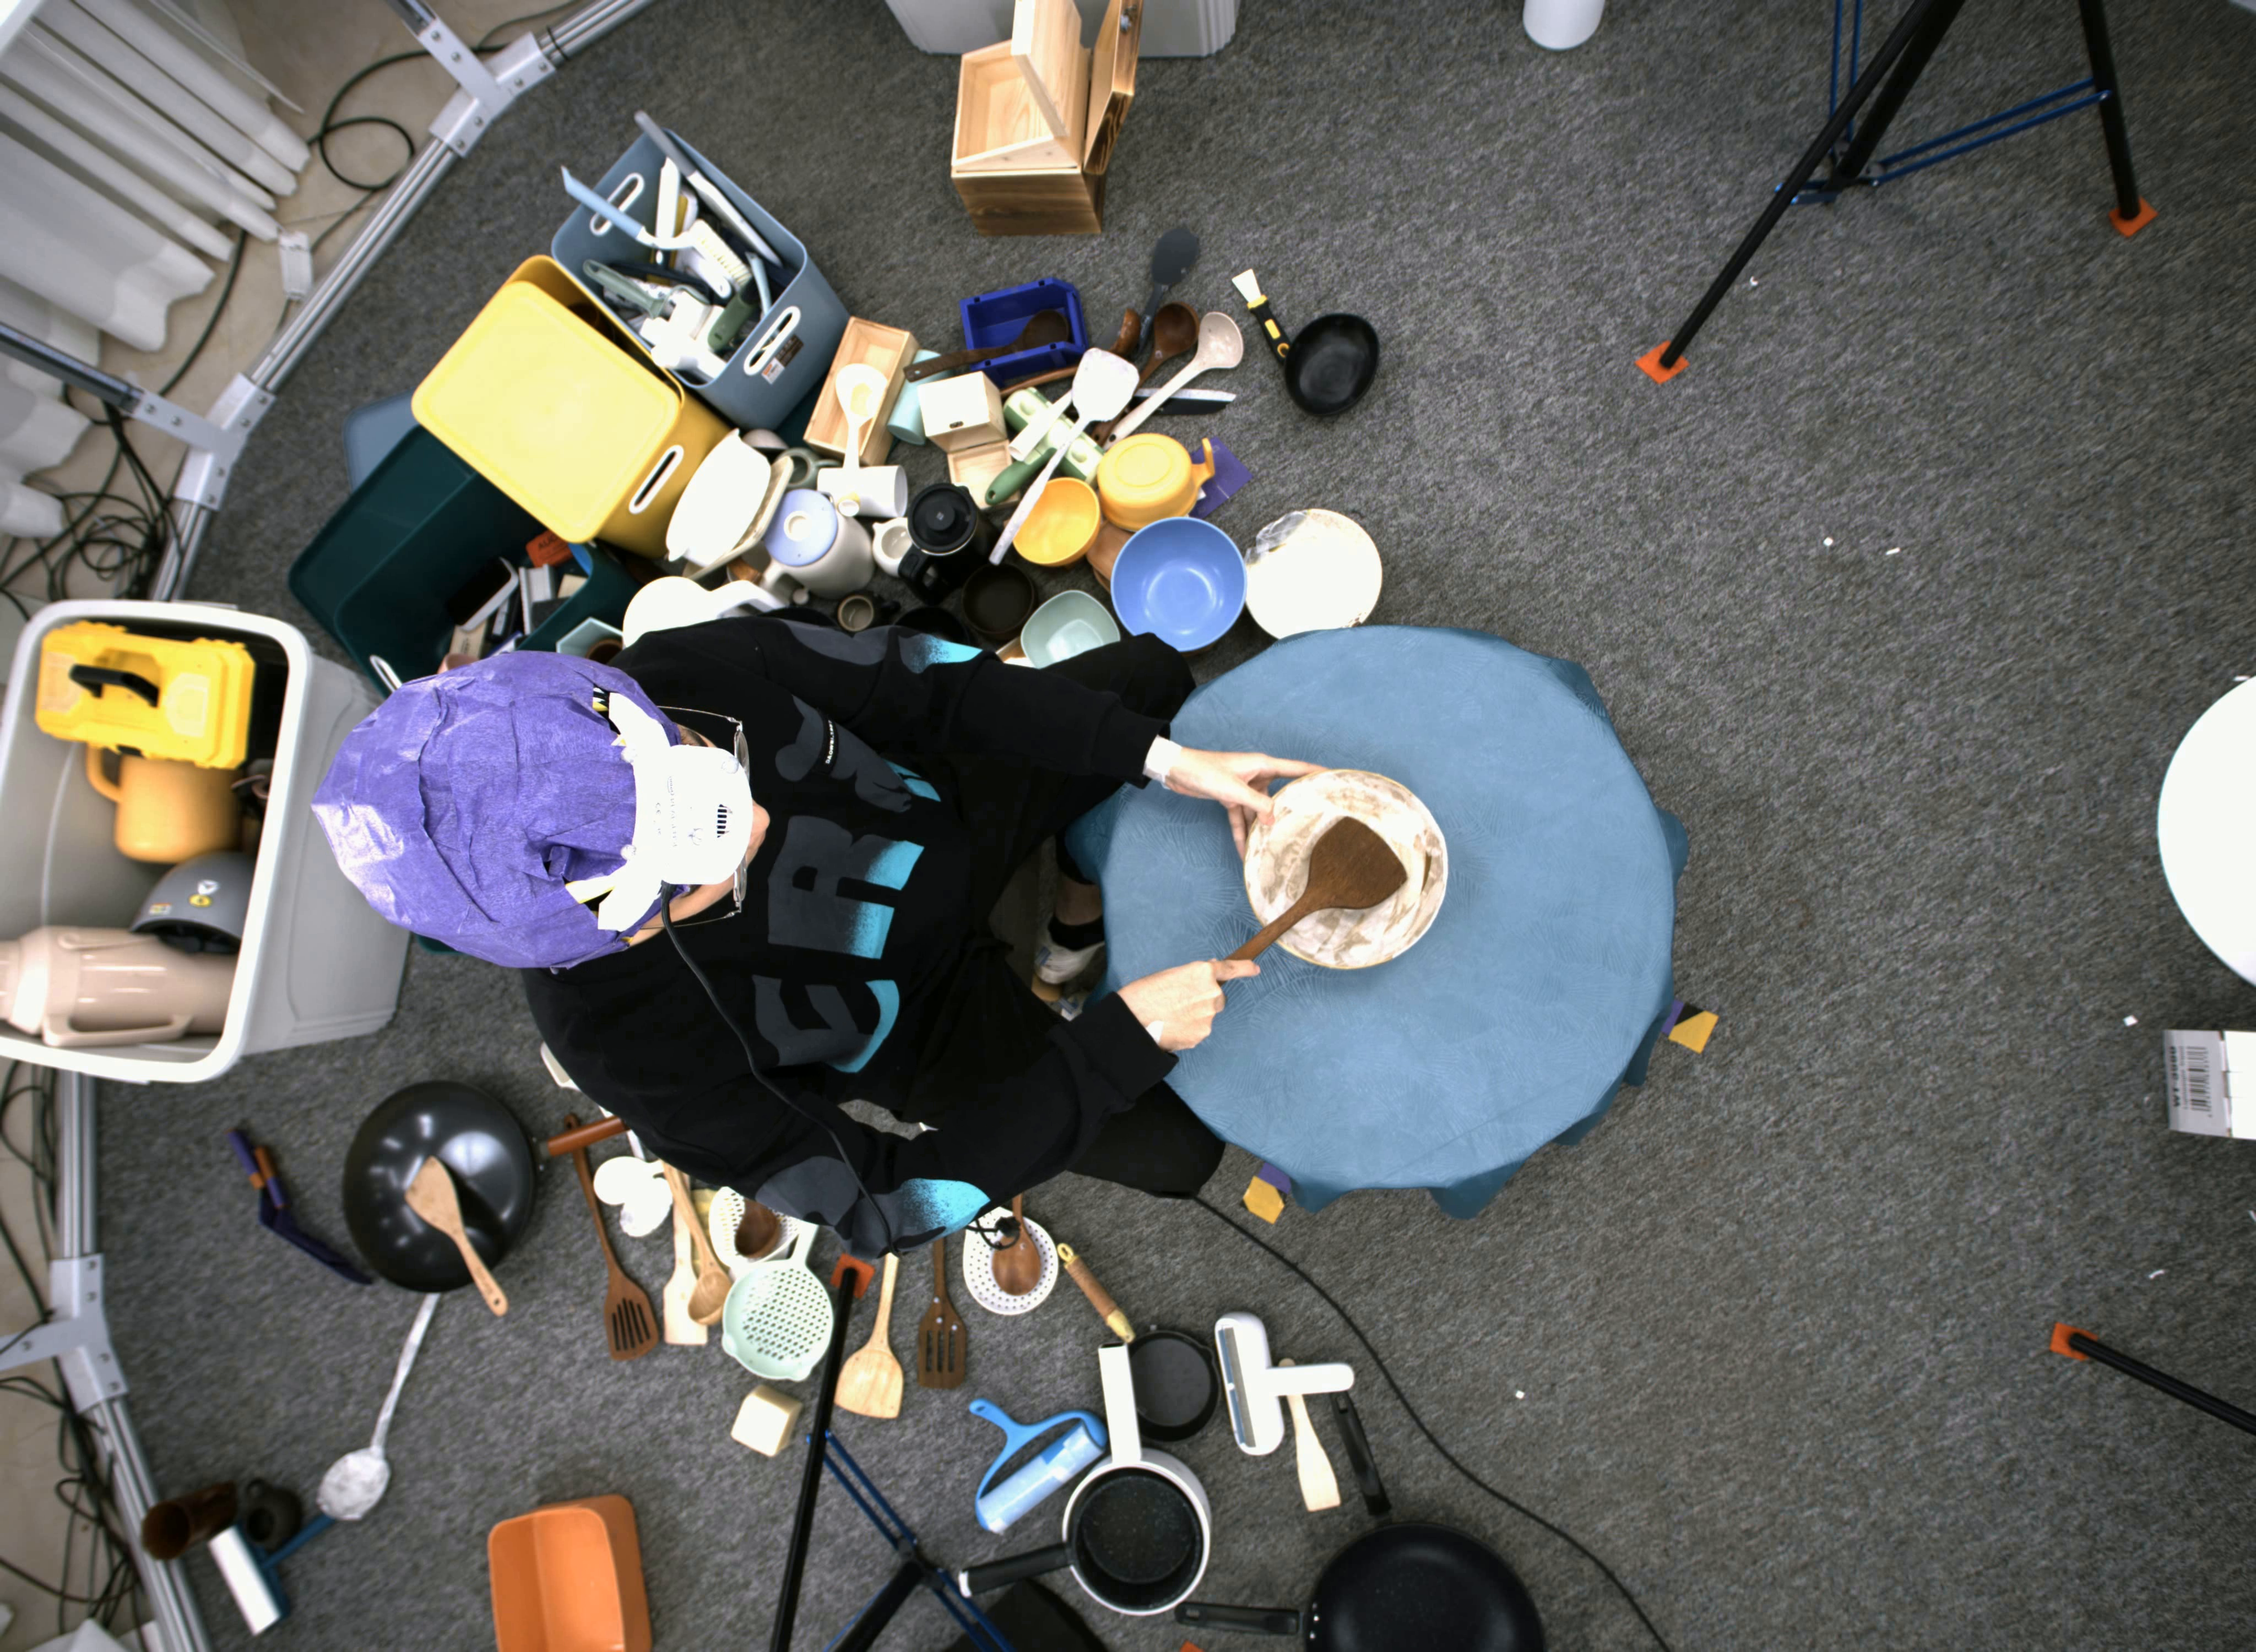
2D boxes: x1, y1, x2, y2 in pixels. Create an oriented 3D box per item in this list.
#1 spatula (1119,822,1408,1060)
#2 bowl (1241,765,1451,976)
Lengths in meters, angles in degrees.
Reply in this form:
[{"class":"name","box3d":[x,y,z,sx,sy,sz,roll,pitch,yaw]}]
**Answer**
[{"class":"spatula","box3d":[0.132,0.114,1.353,0.379,0.016,0.095,-34,75,-30]},{"class":"bowl","box3d":[0.221,0.044,1.414,0.215,0.094,0.214,0,91,8]}]
